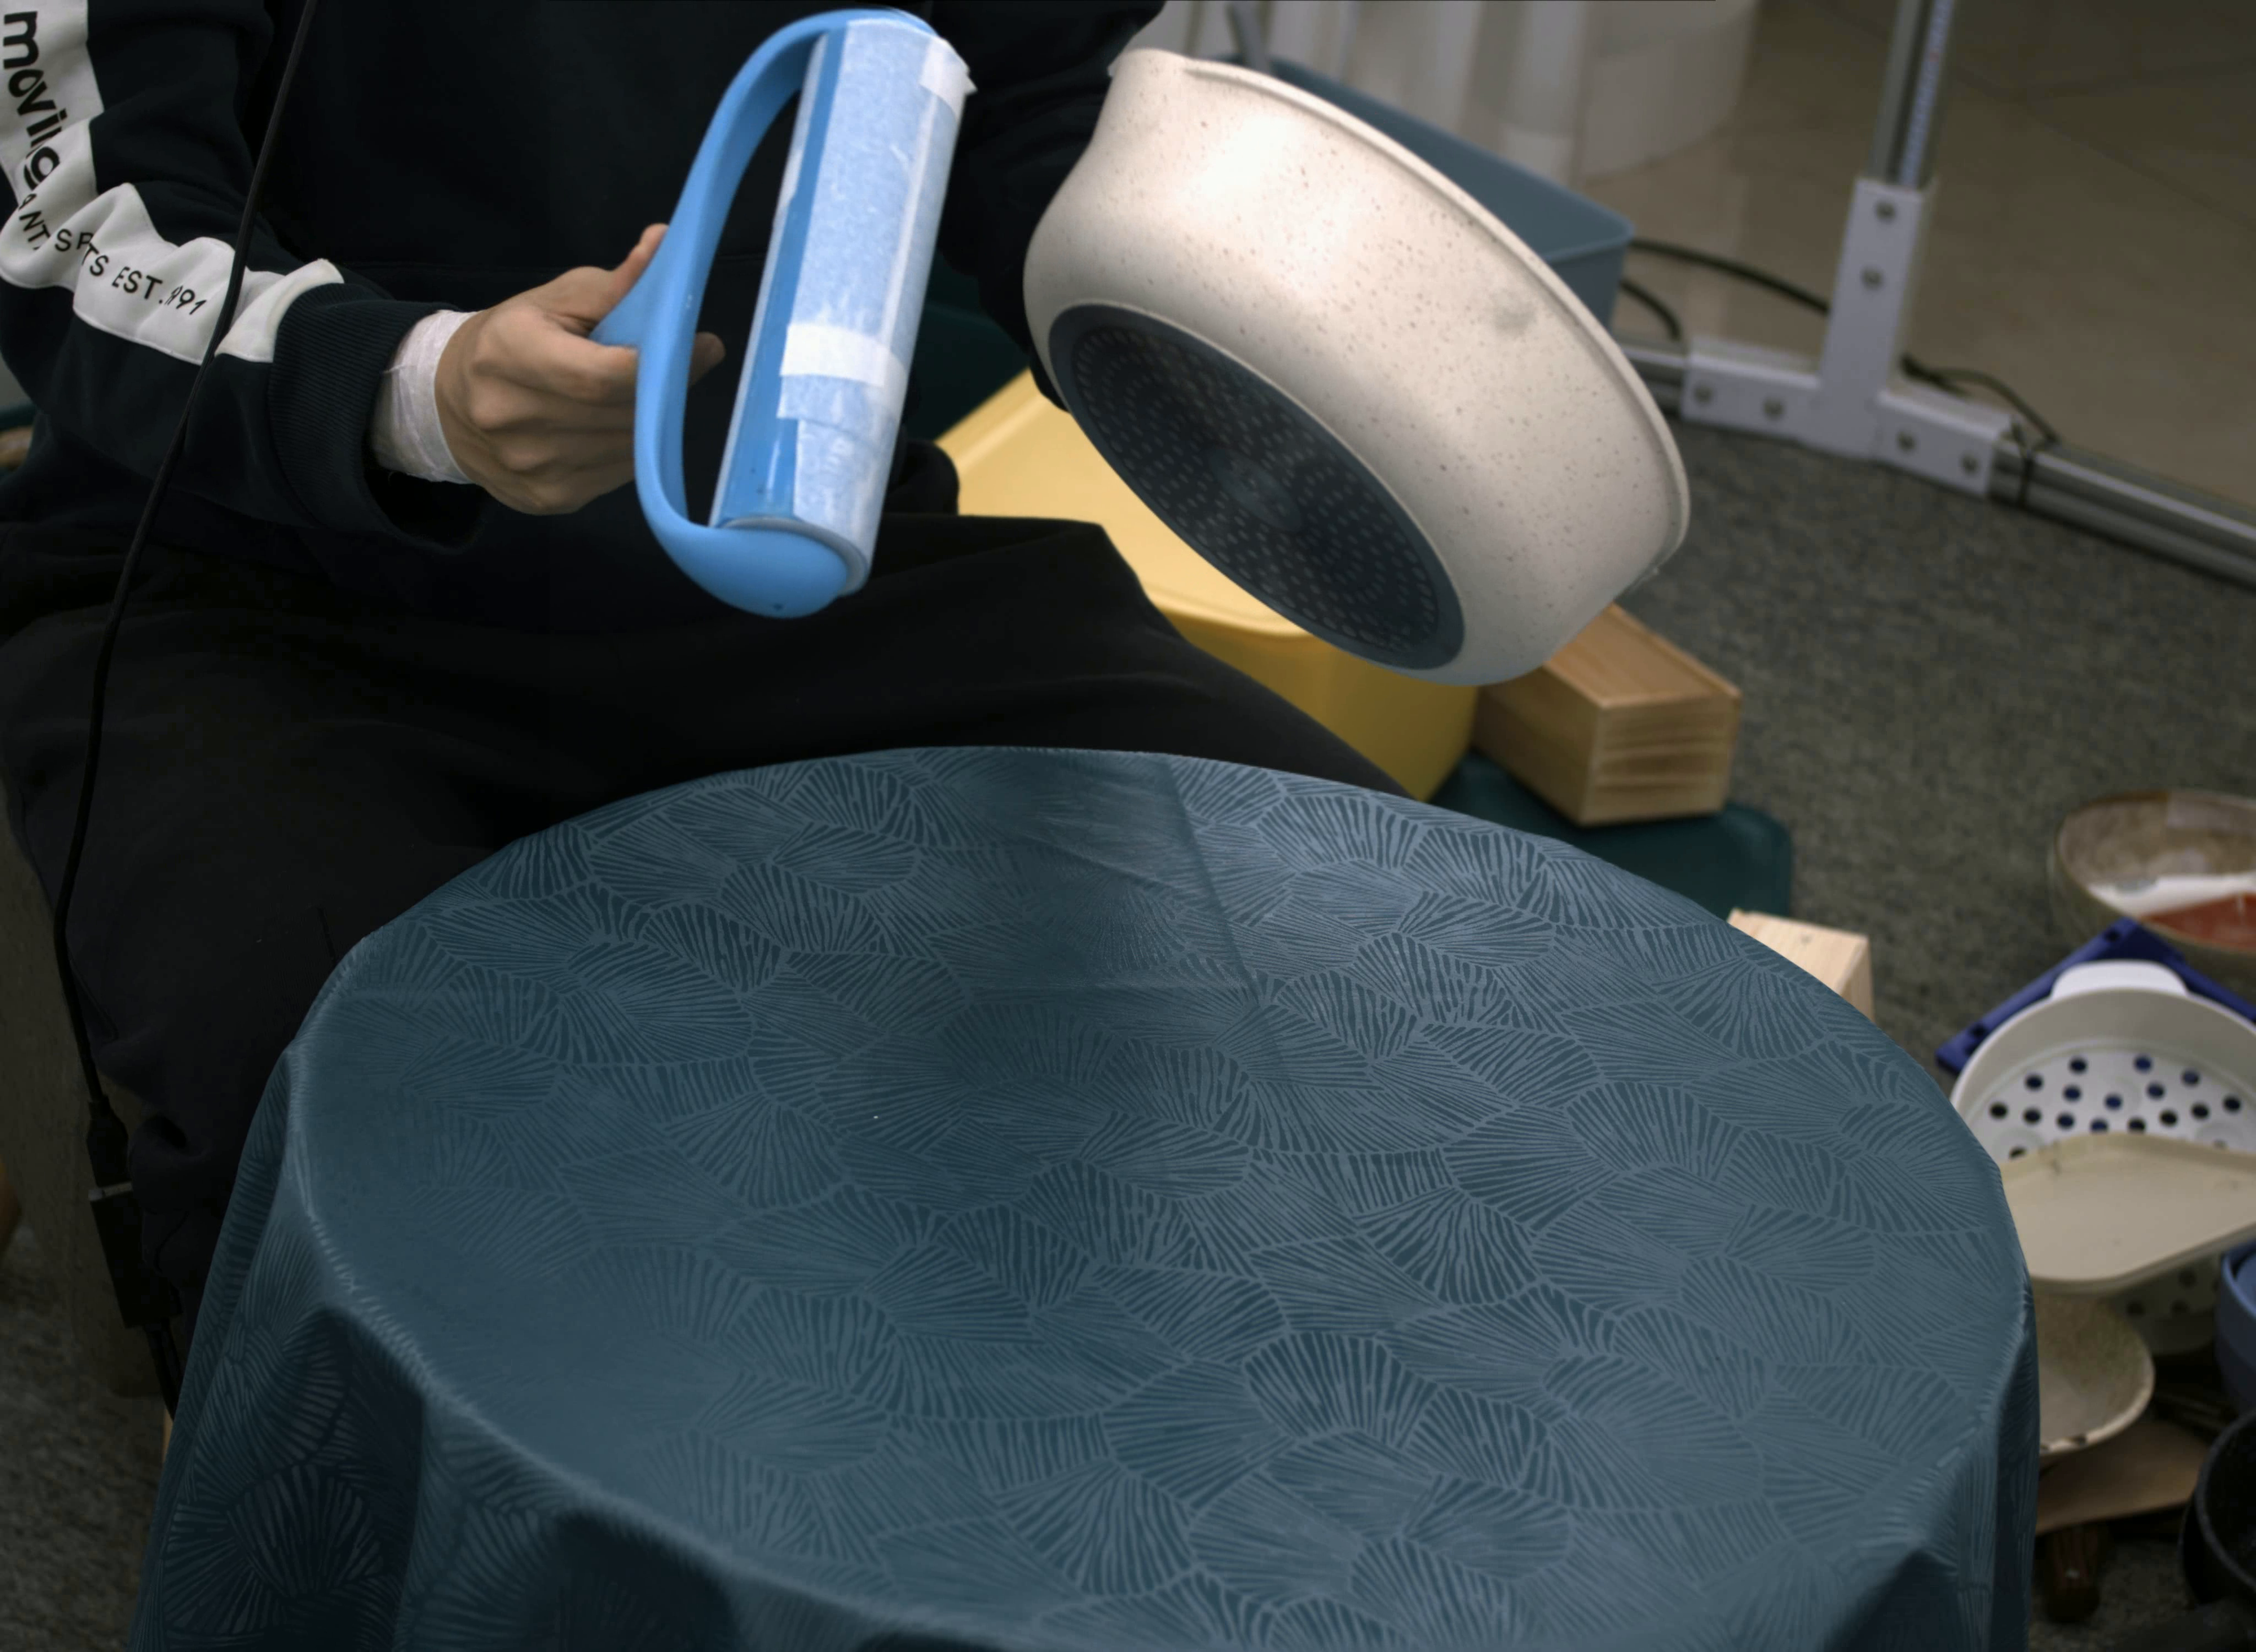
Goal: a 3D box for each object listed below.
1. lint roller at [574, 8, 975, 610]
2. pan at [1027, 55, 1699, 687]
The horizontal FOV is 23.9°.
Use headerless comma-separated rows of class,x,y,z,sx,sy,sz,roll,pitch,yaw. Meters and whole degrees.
lint roller,-0.138,-0.158,1.776,0.180,0.067,0.230,-18,52,38
pan,0.040,-0.147,1.924,0.102,0.262,0.436,-51,15,-16
